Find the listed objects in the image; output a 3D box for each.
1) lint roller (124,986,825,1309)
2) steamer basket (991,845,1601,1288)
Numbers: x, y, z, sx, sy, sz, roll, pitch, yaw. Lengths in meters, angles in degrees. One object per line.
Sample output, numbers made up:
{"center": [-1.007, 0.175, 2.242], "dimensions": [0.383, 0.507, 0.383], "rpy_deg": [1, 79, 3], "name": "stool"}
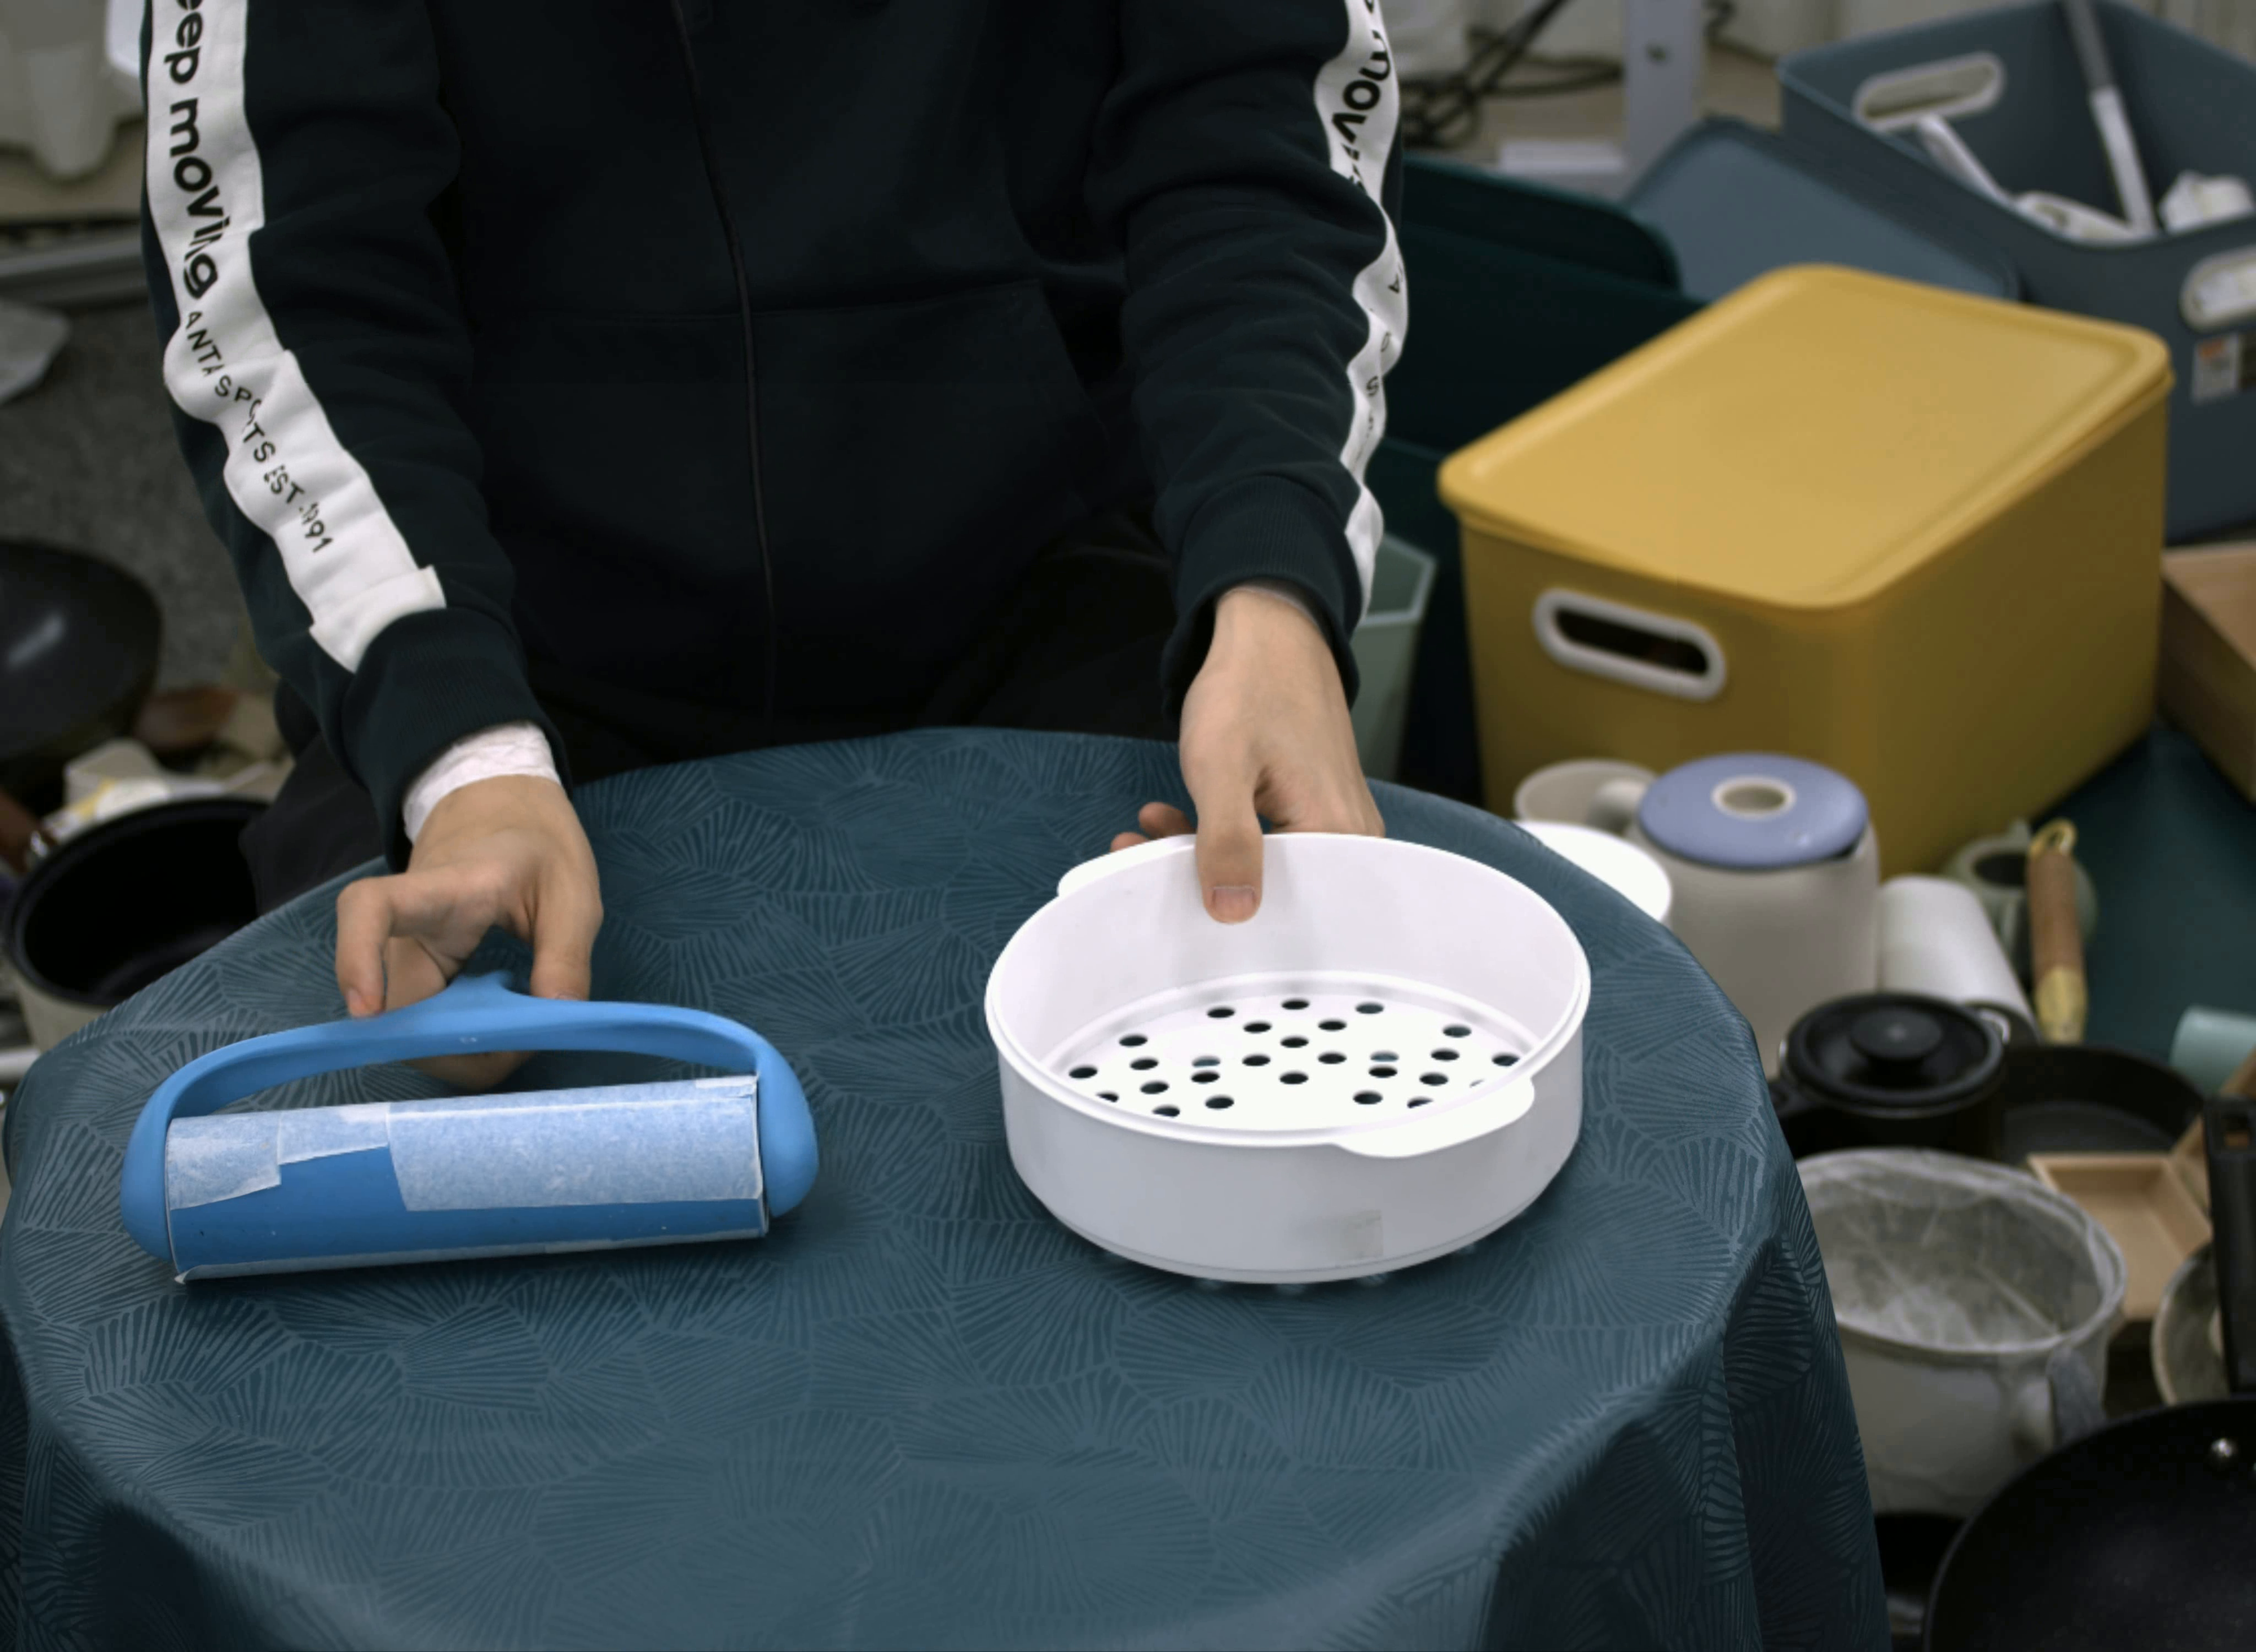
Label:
{"center": [-0.221, 0.090, 1.885], "dimensions": [0.228, 0.067, 0.183], "rpy_deg": [-9, 29, -5], "name": "lint roller"}
{"center": [0.056, 0.080, 1.861], "dimensions": [0.203, 0.068, 0.231], "rpy_deg": [-15, 29, -24], "name": "steamer basket"}
